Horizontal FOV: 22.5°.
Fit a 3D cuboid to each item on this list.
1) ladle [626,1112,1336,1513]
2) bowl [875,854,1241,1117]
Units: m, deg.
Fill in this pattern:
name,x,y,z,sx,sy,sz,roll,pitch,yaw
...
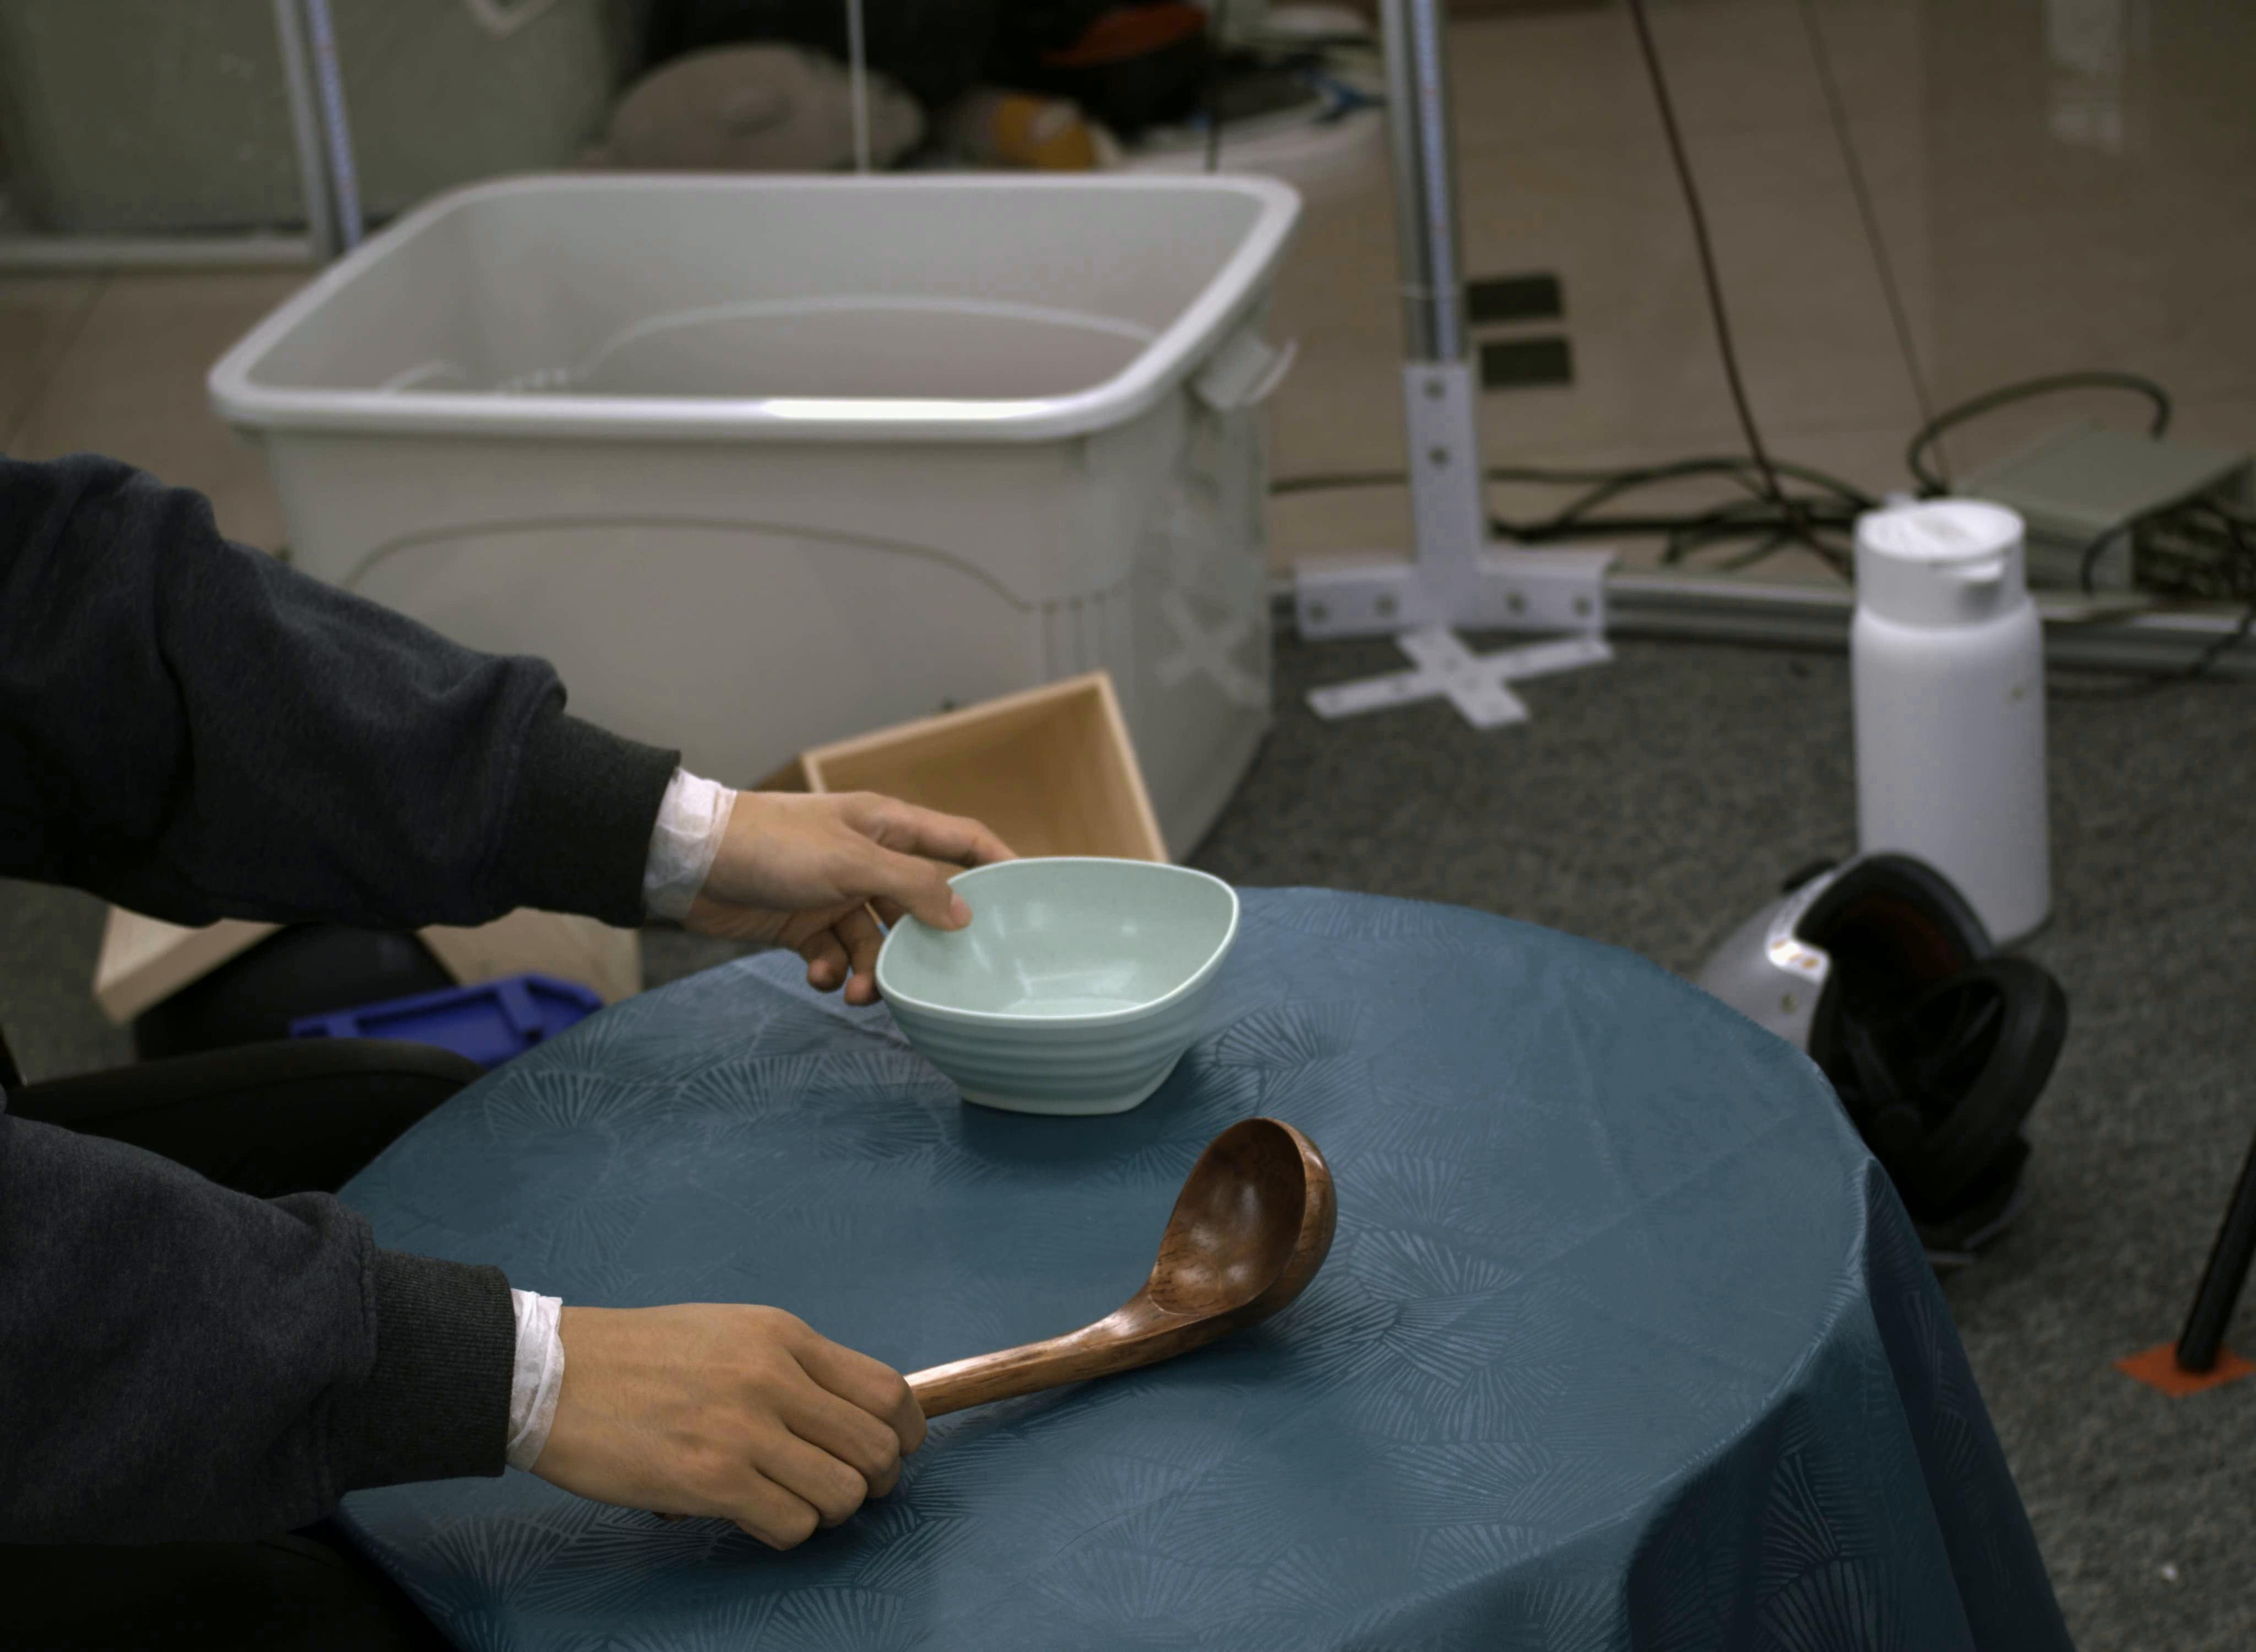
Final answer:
name,x,y,z,sx,sy,sz,roll,pitch,yaw
ladle,-0.051,0.169,1.994,0.273,0.077,0.081,-15,20,-22
bowl,-0.026,0.068,2.233,0.151,0.059,0.149,-2,27,1
